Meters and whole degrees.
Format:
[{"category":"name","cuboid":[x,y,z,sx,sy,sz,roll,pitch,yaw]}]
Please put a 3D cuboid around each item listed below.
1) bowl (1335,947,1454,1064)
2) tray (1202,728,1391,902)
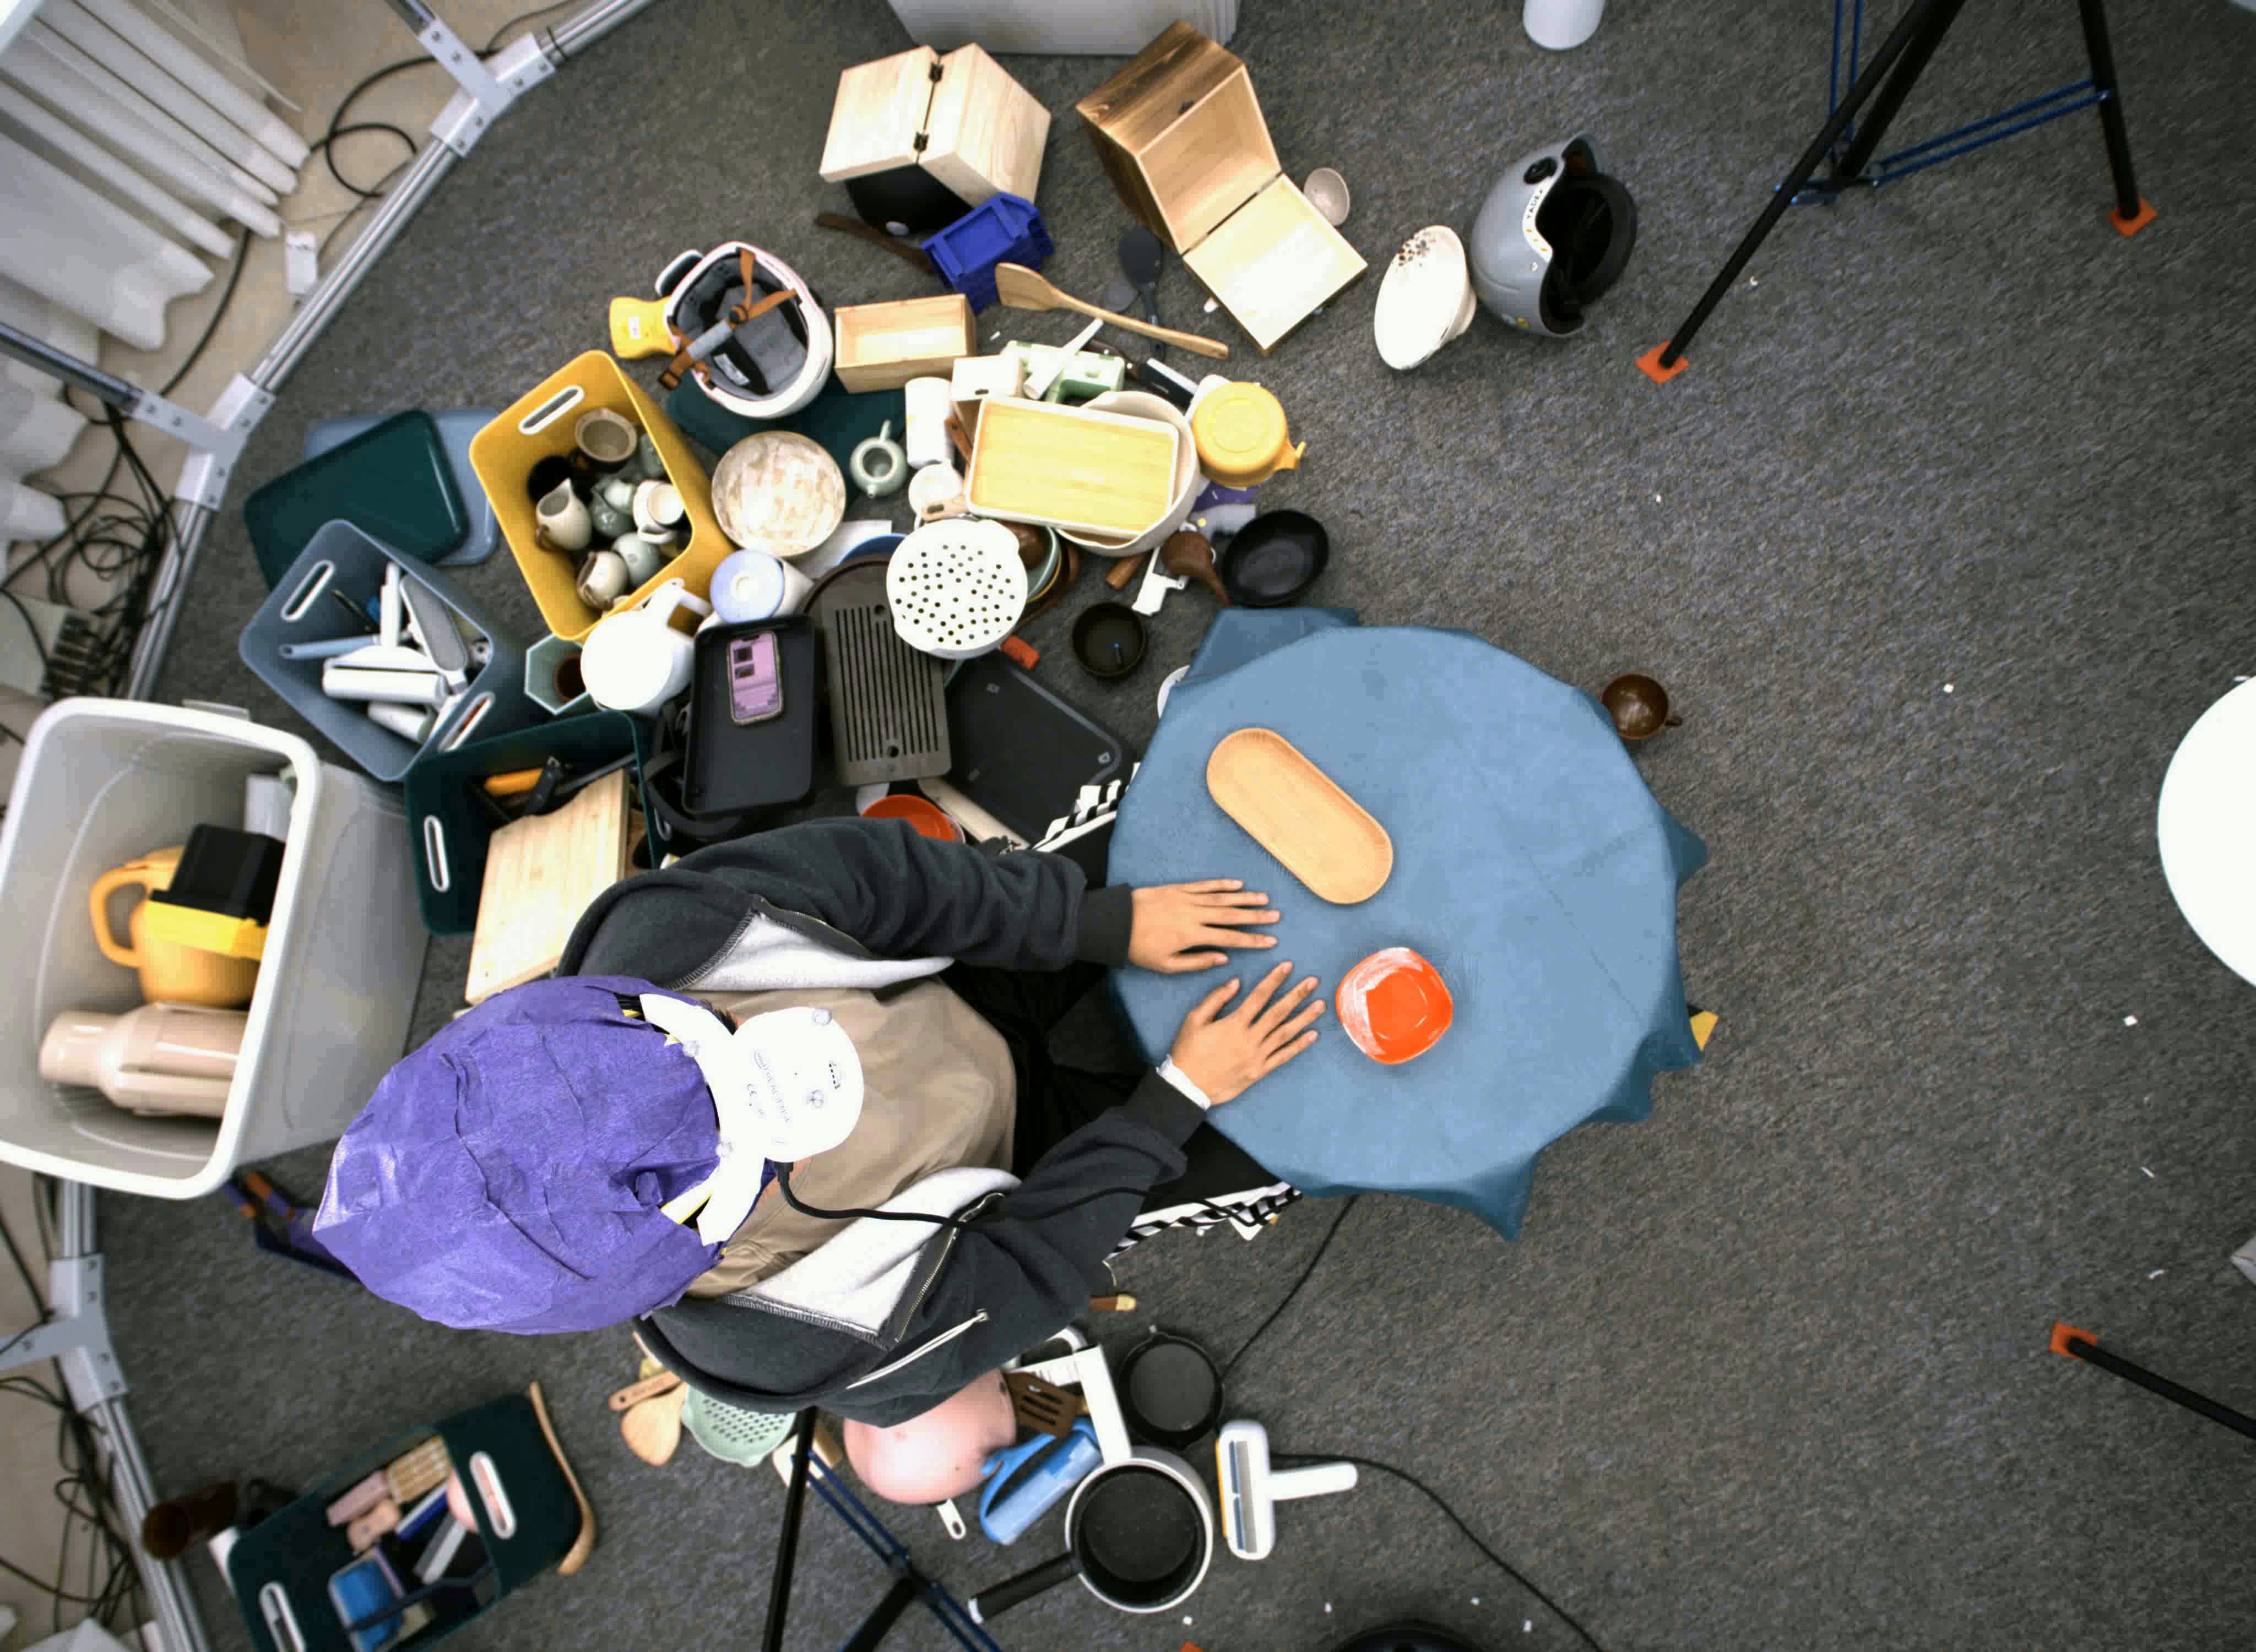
[{"category":"bowl","cuboid":[0.273,0.183,1.425,0.119,0.051,0.118,-1,86,8]},{"category":"tray","cuboid":[0.178,-0.013,1.473,0.230,0.020,0.102,41,94,11]}]
